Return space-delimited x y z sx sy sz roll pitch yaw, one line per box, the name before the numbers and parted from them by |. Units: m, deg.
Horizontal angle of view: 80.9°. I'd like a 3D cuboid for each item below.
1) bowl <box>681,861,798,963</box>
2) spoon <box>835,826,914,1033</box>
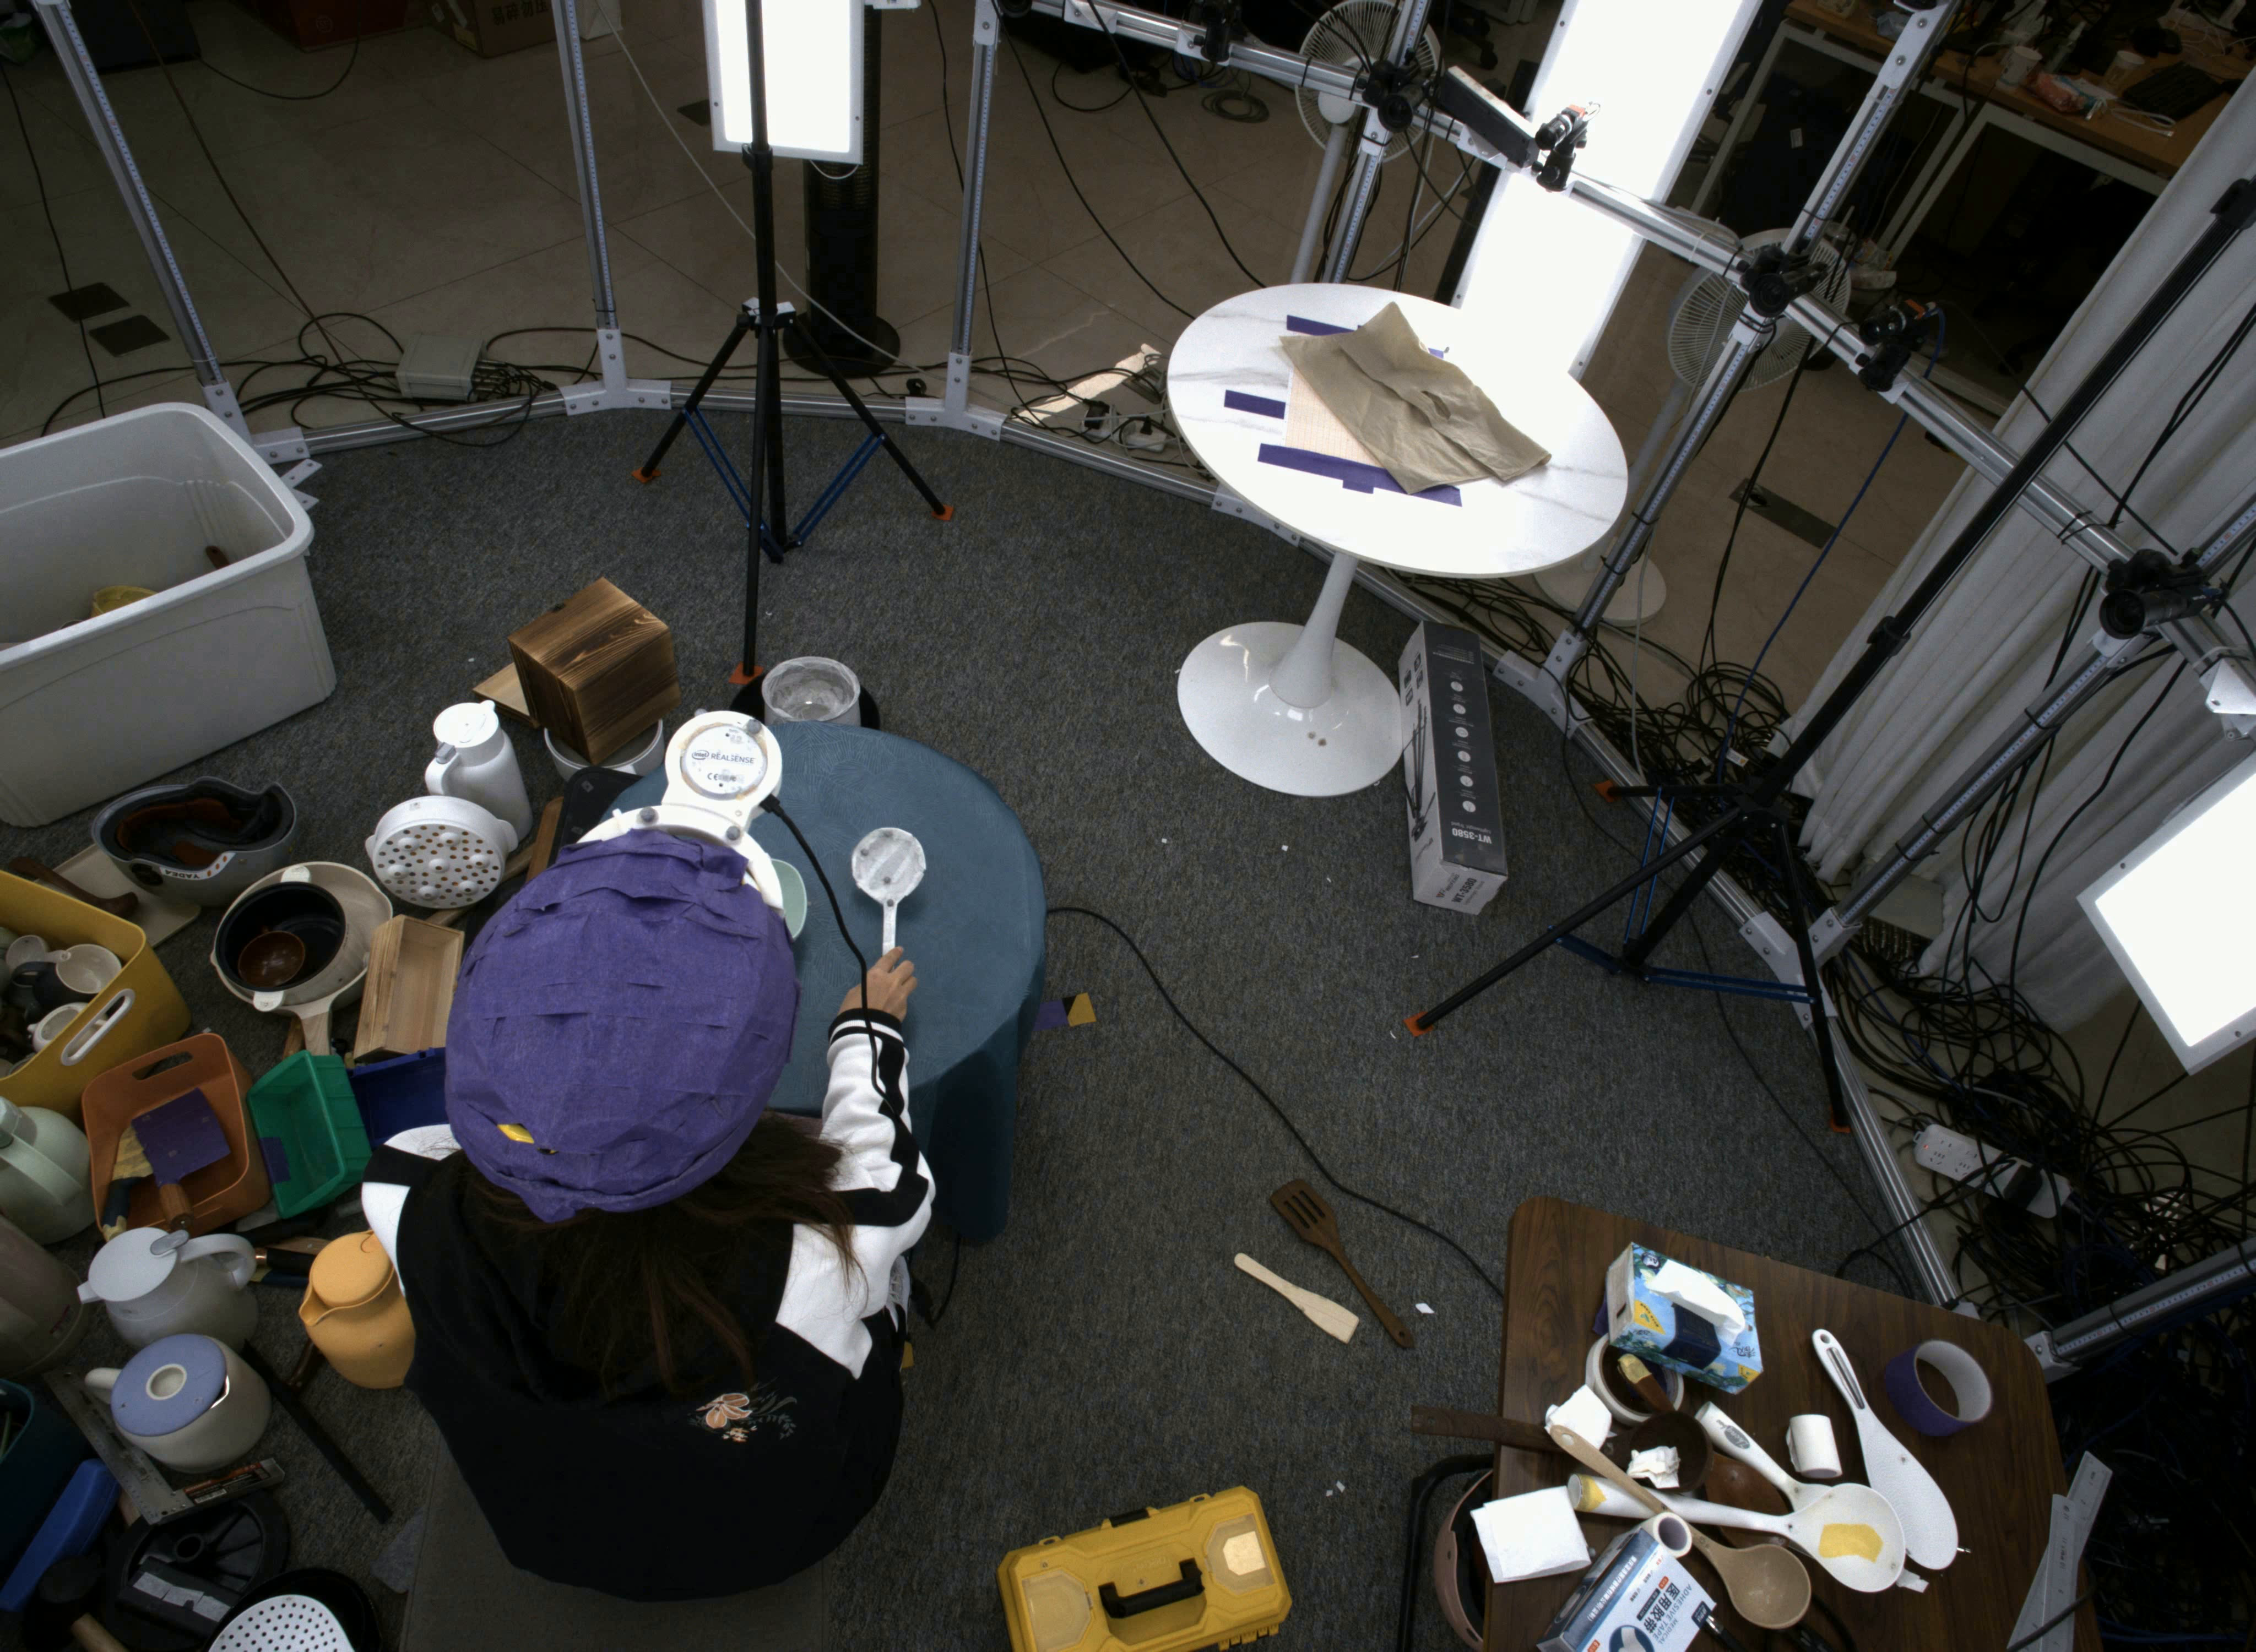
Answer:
bowl | -0.475 0.114 1.586 0.151 0.060 0.149 8 52 -9
spoon | -0.315 0.119 1.581 0.099 0.061 0.271 -5 48 1
